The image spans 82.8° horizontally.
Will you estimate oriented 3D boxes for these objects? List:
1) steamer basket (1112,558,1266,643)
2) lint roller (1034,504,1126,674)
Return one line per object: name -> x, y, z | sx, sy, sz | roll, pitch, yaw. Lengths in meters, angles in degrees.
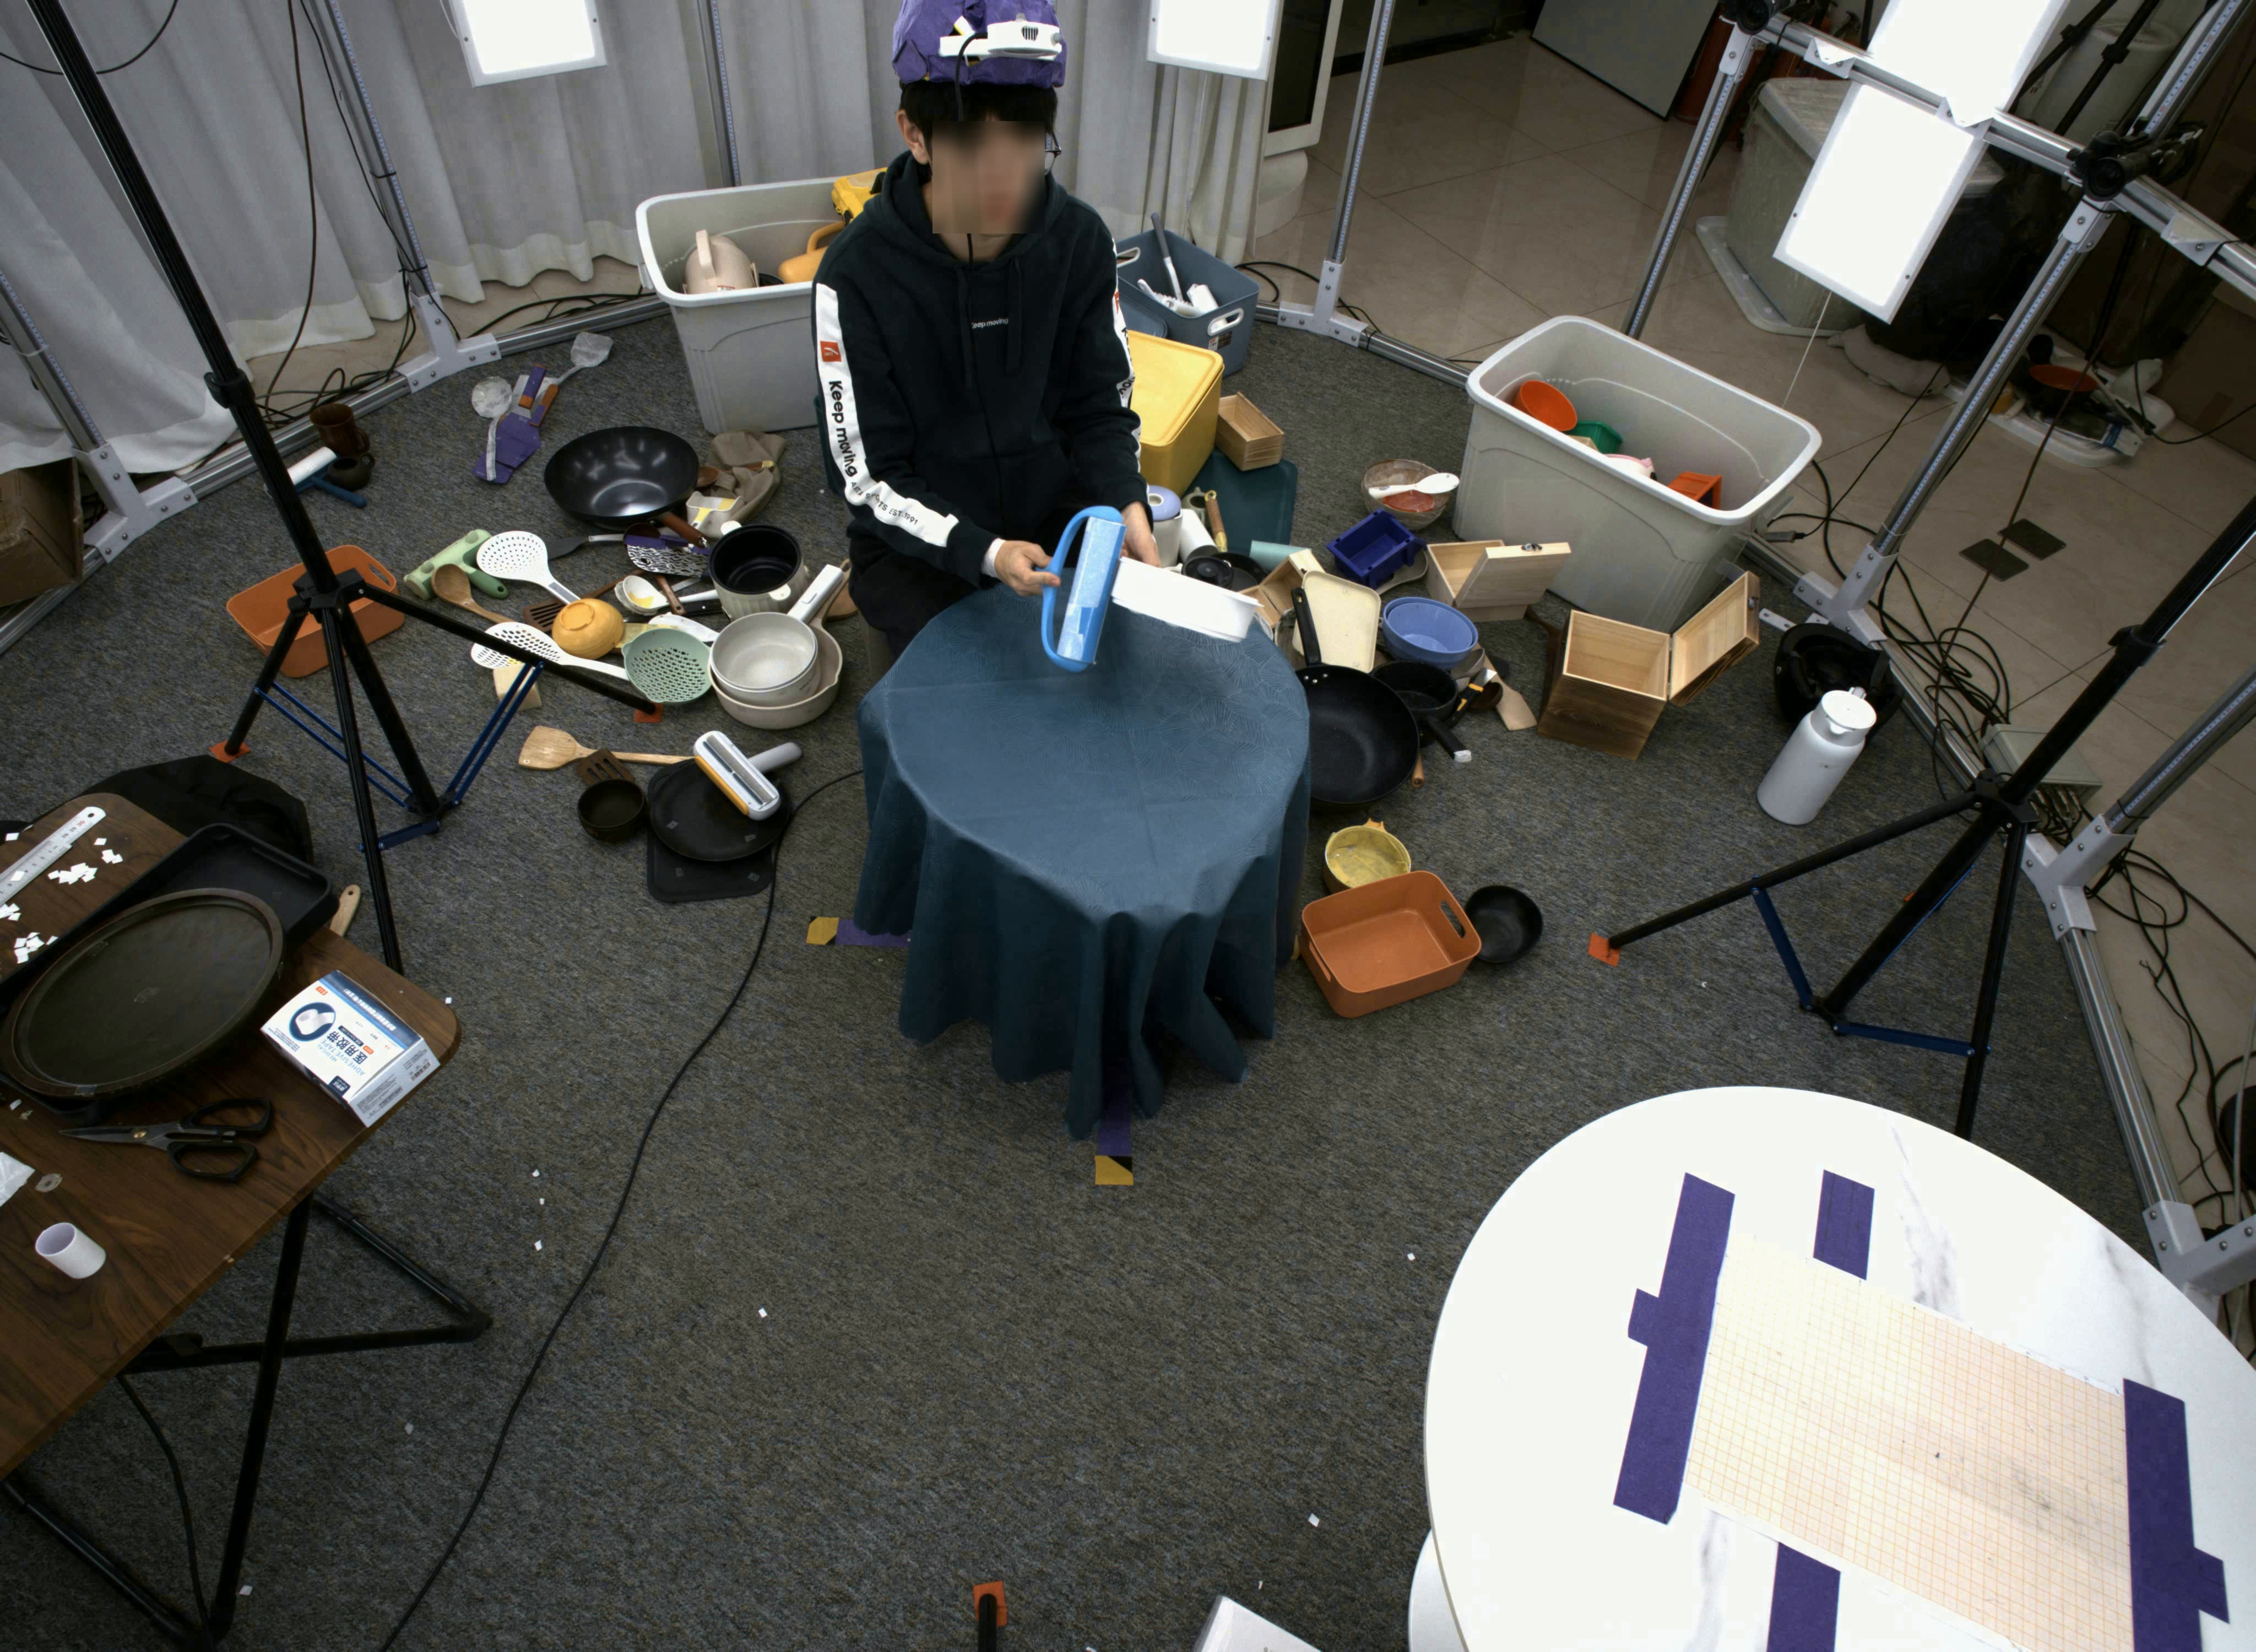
steamer basket -> 0.076, -0.304, 1.753 | 0.233, 0.069, 0.200 | 23, 11, 33
lint roller -> -0.088, -0.337, 1.792 | 0.067, 0.227, 0.182 | 0, 14, -44
